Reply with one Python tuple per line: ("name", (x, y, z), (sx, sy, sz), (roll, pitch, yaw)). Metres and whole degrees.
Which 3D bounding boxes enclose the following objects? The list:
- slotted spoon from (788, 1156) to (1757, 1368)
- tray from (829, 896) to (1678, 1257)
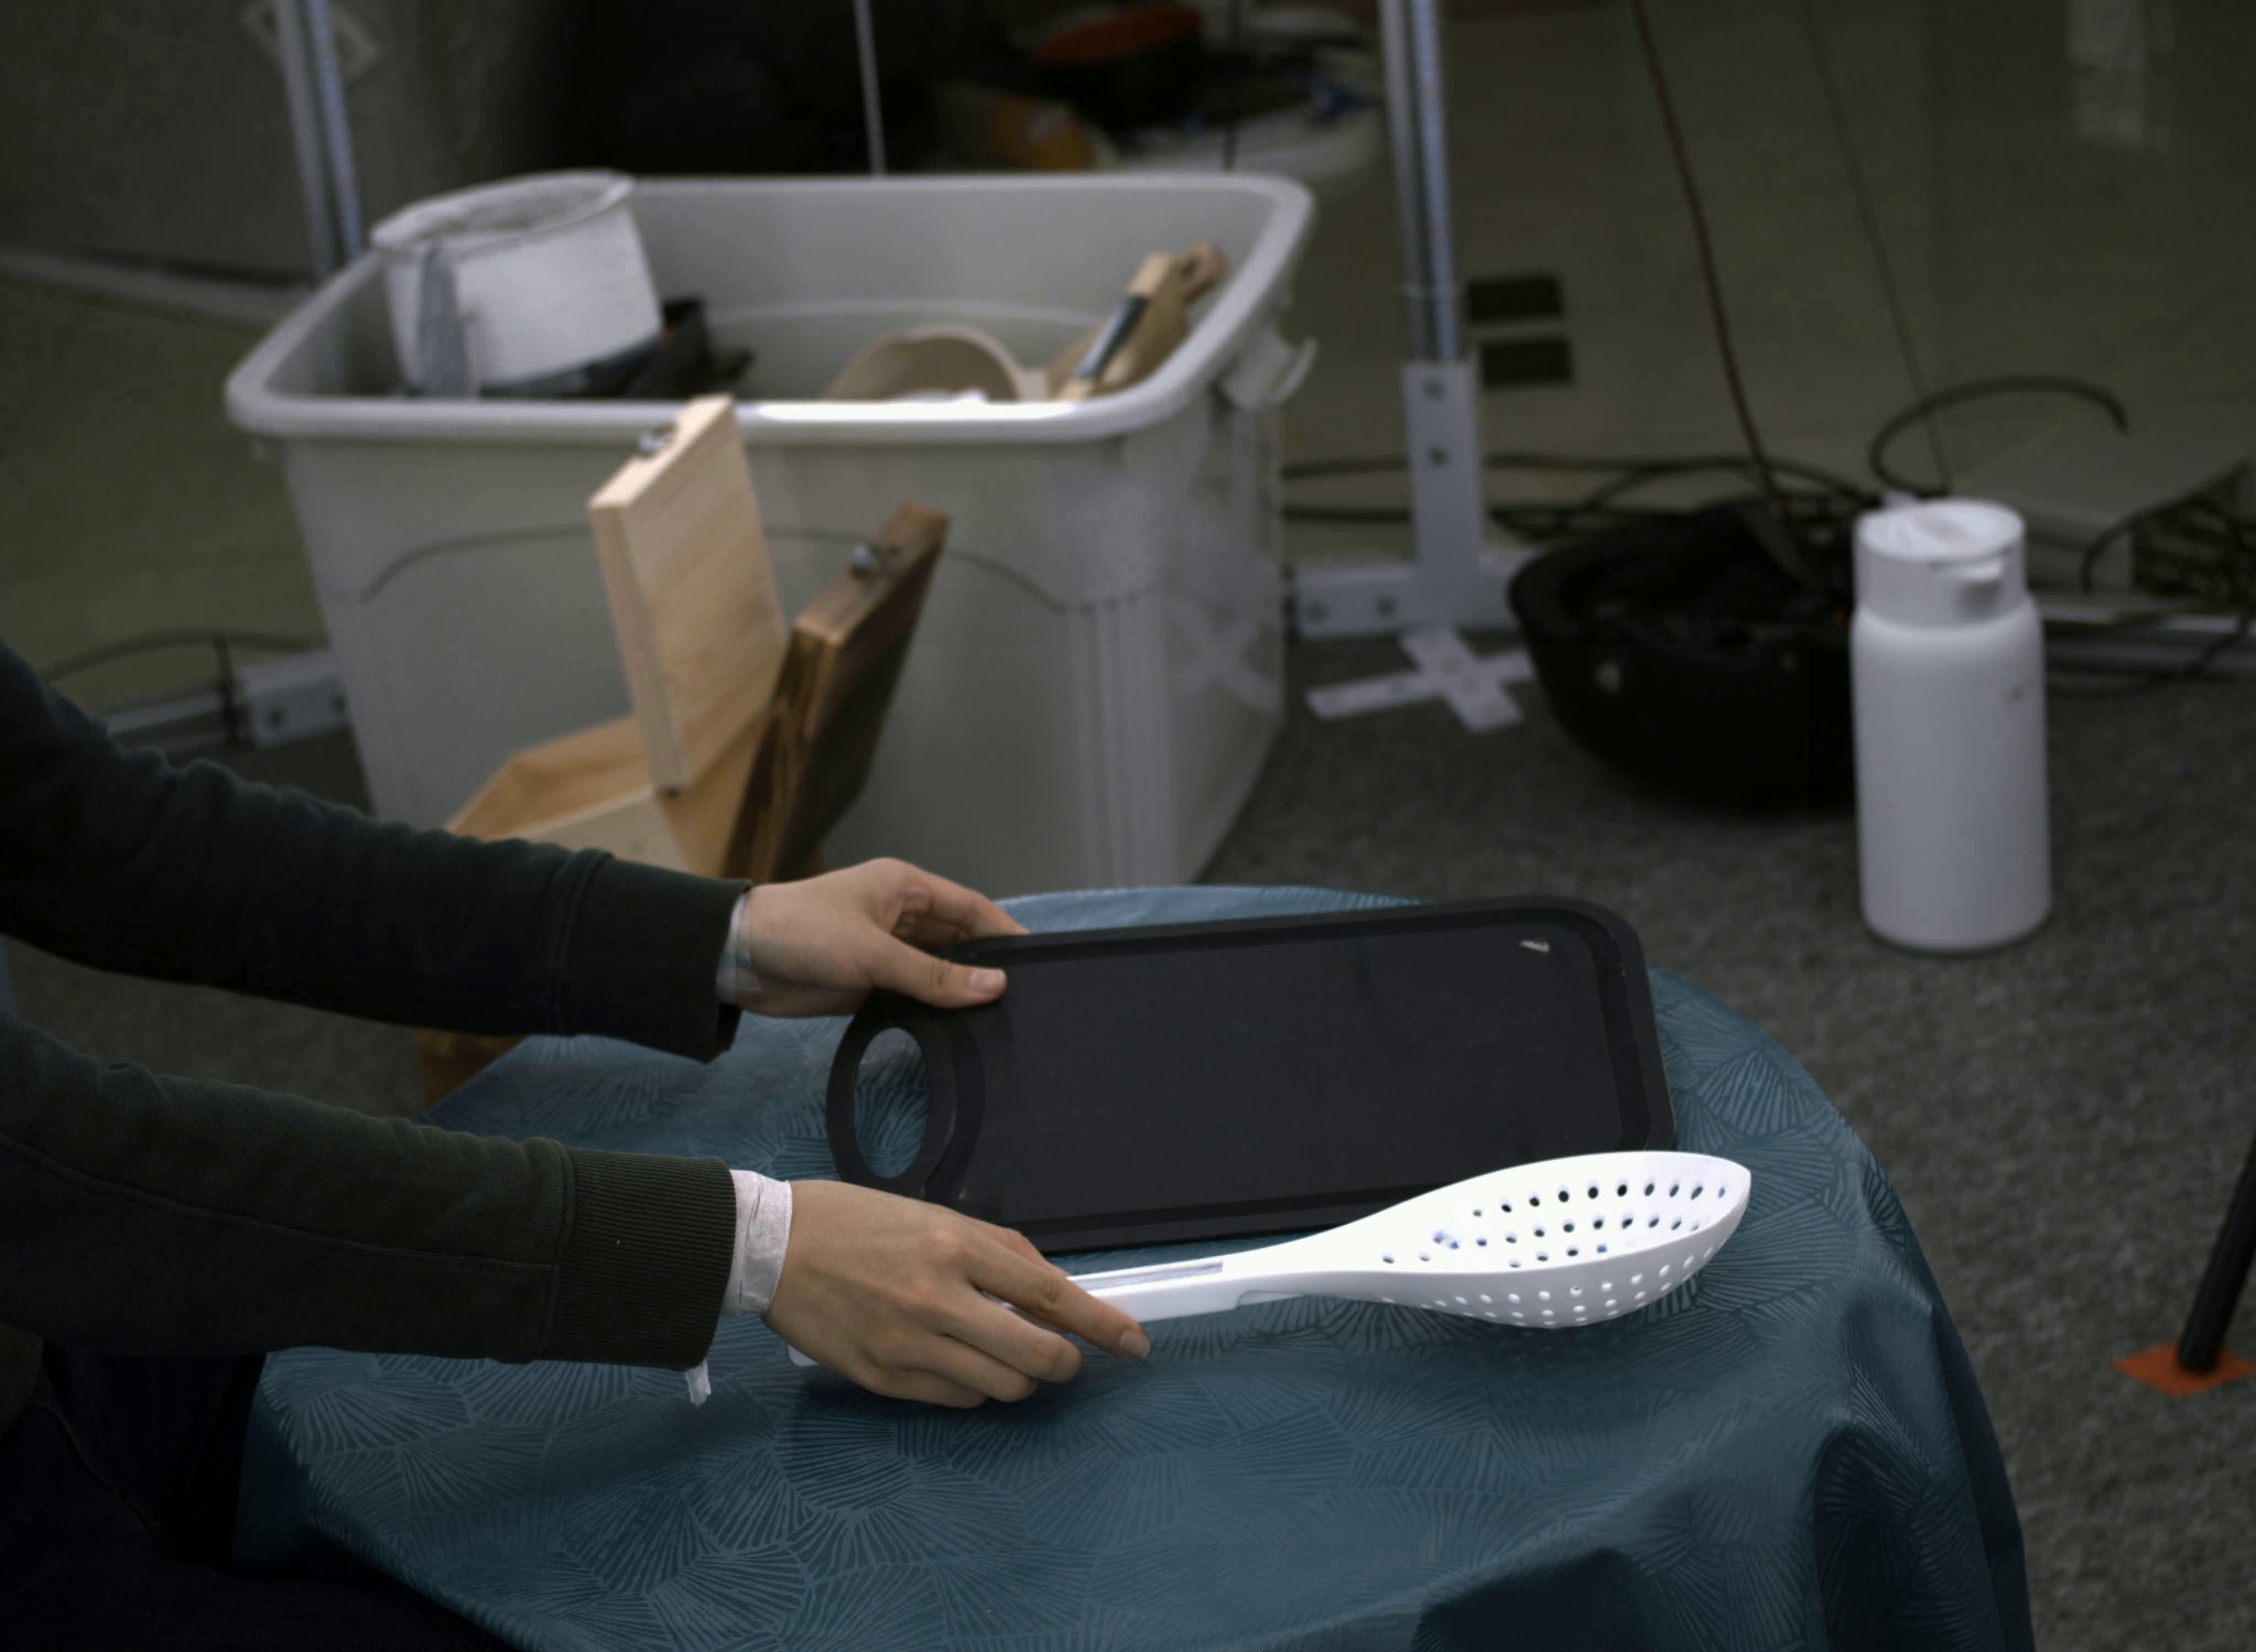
("slotted spoon", (0.051, 0.161, 2.030), (0.349, 0.046, 0.135), (-4, 11, 4))
("tray", (0.045, 0.094, 2.195), (0.325, 0.010, 0.207), (-5, 33, 2))
